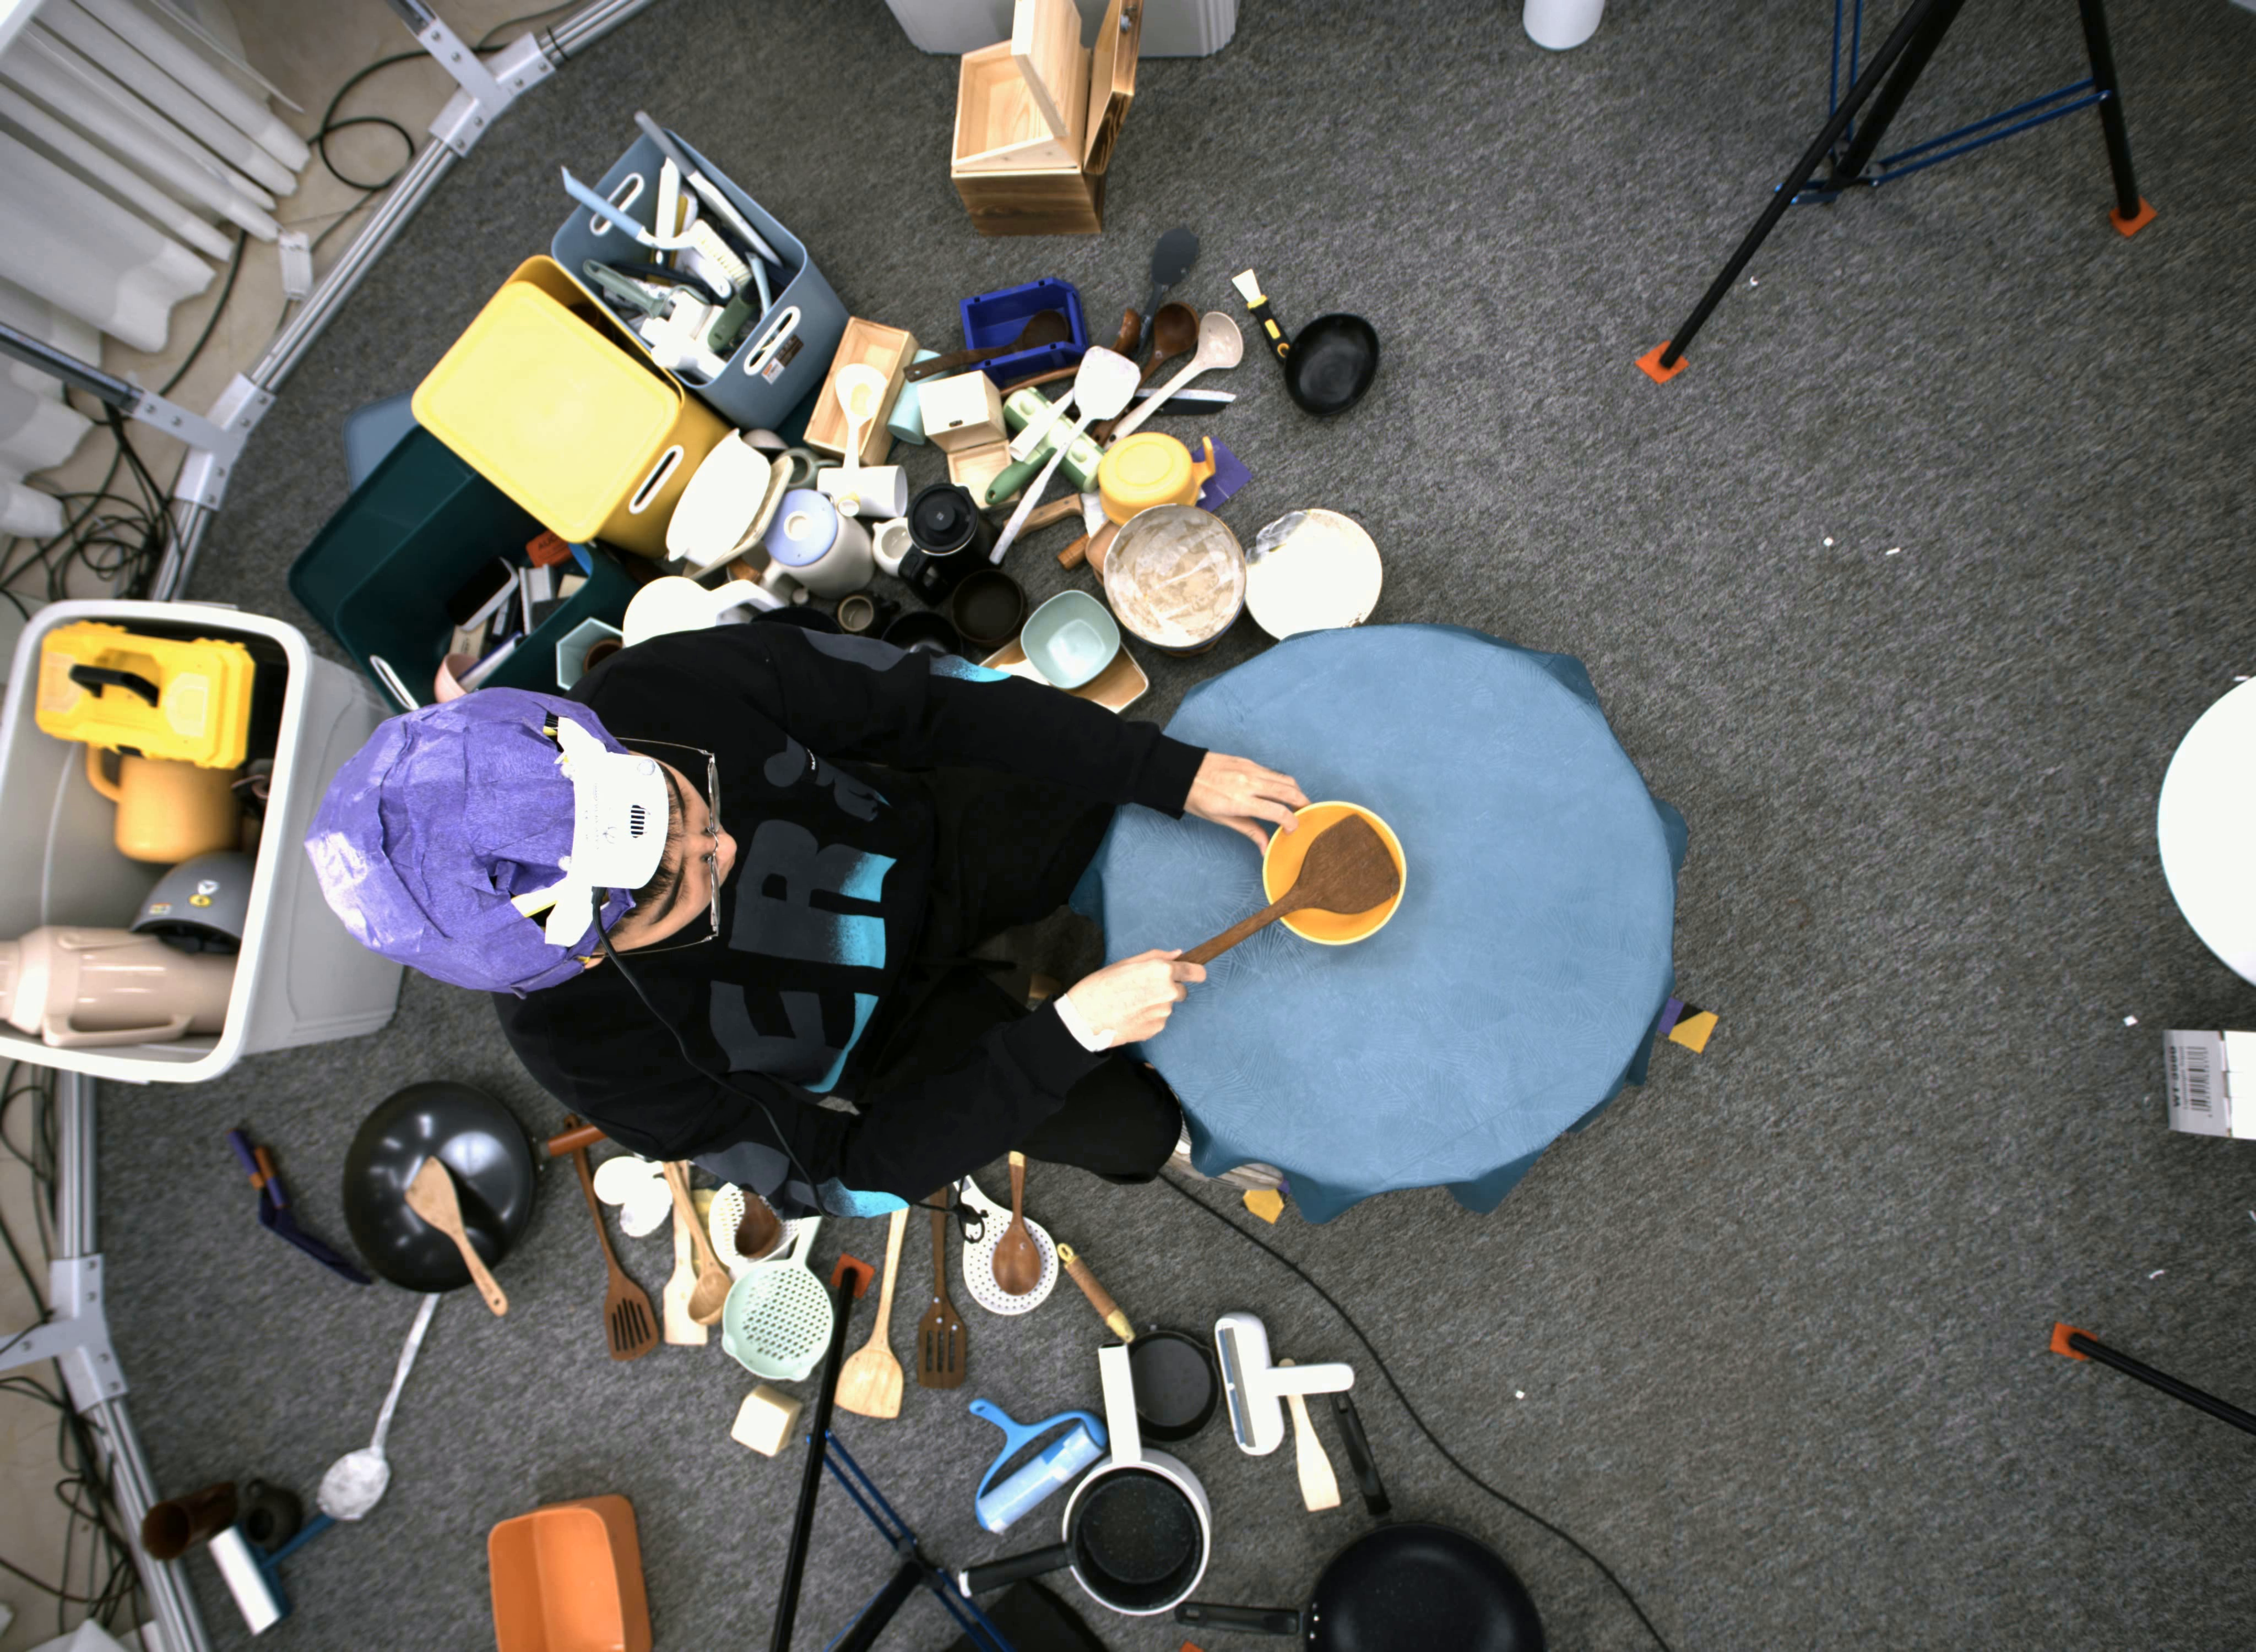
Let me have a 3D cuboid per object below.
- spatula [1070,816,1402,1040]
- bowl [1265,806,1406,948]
[{"bbox_3d":[0.107,0.106,1.343,0.381,0.016,0.096,-28,87,-21],"label":"spatula"},{"bbox_3d":[0.211,0.054,1.428,0.145,0.060,0.144,0,85,3],"label":"bowl"}]
